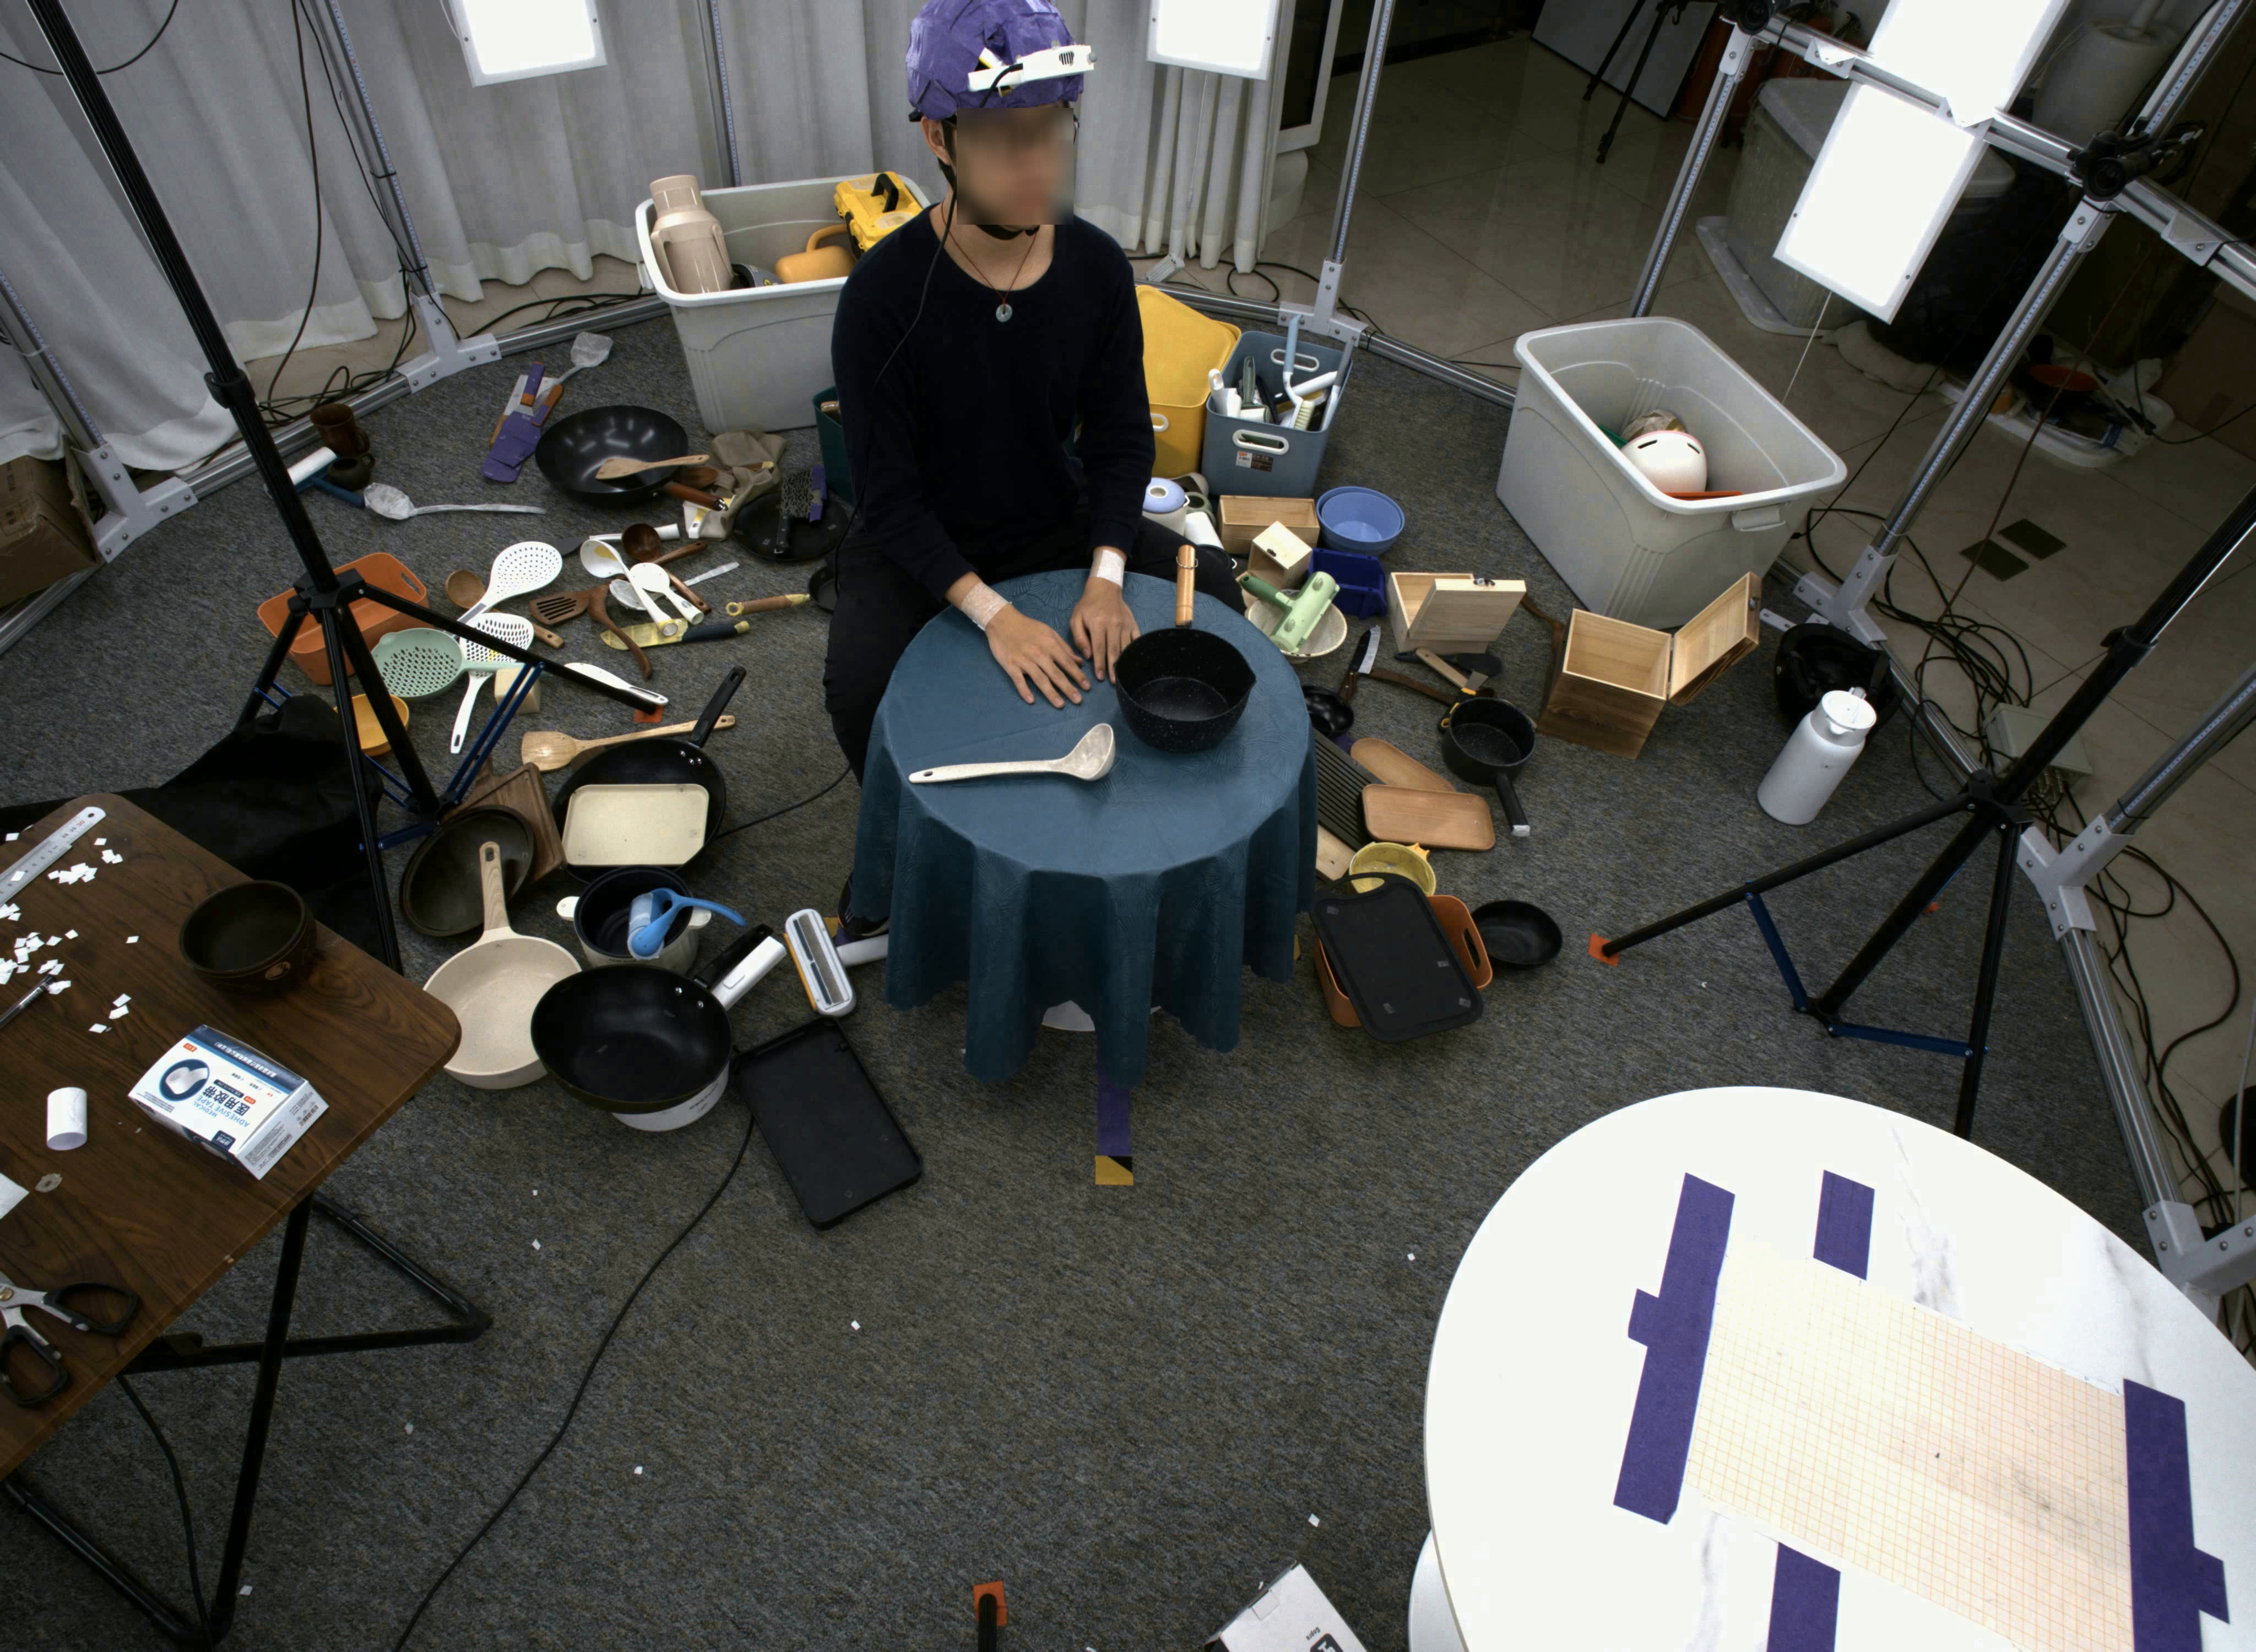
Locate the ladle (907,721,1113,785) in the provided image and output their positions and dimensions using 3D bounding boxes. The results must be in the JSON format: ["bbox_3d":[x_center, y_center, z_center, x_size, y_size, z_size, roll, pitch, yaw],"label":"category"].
[{"bbox_3d":[-0.156,-0.095,1.694,0.274,0.068,0.091,-4,36,-5],"label":"ladle"}]

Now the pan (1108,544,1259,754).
[{"bbox_3d":[0.076,-0.252,1.823,0.207,0.105,0.351,2,50,-1],"label":"pan"}]
